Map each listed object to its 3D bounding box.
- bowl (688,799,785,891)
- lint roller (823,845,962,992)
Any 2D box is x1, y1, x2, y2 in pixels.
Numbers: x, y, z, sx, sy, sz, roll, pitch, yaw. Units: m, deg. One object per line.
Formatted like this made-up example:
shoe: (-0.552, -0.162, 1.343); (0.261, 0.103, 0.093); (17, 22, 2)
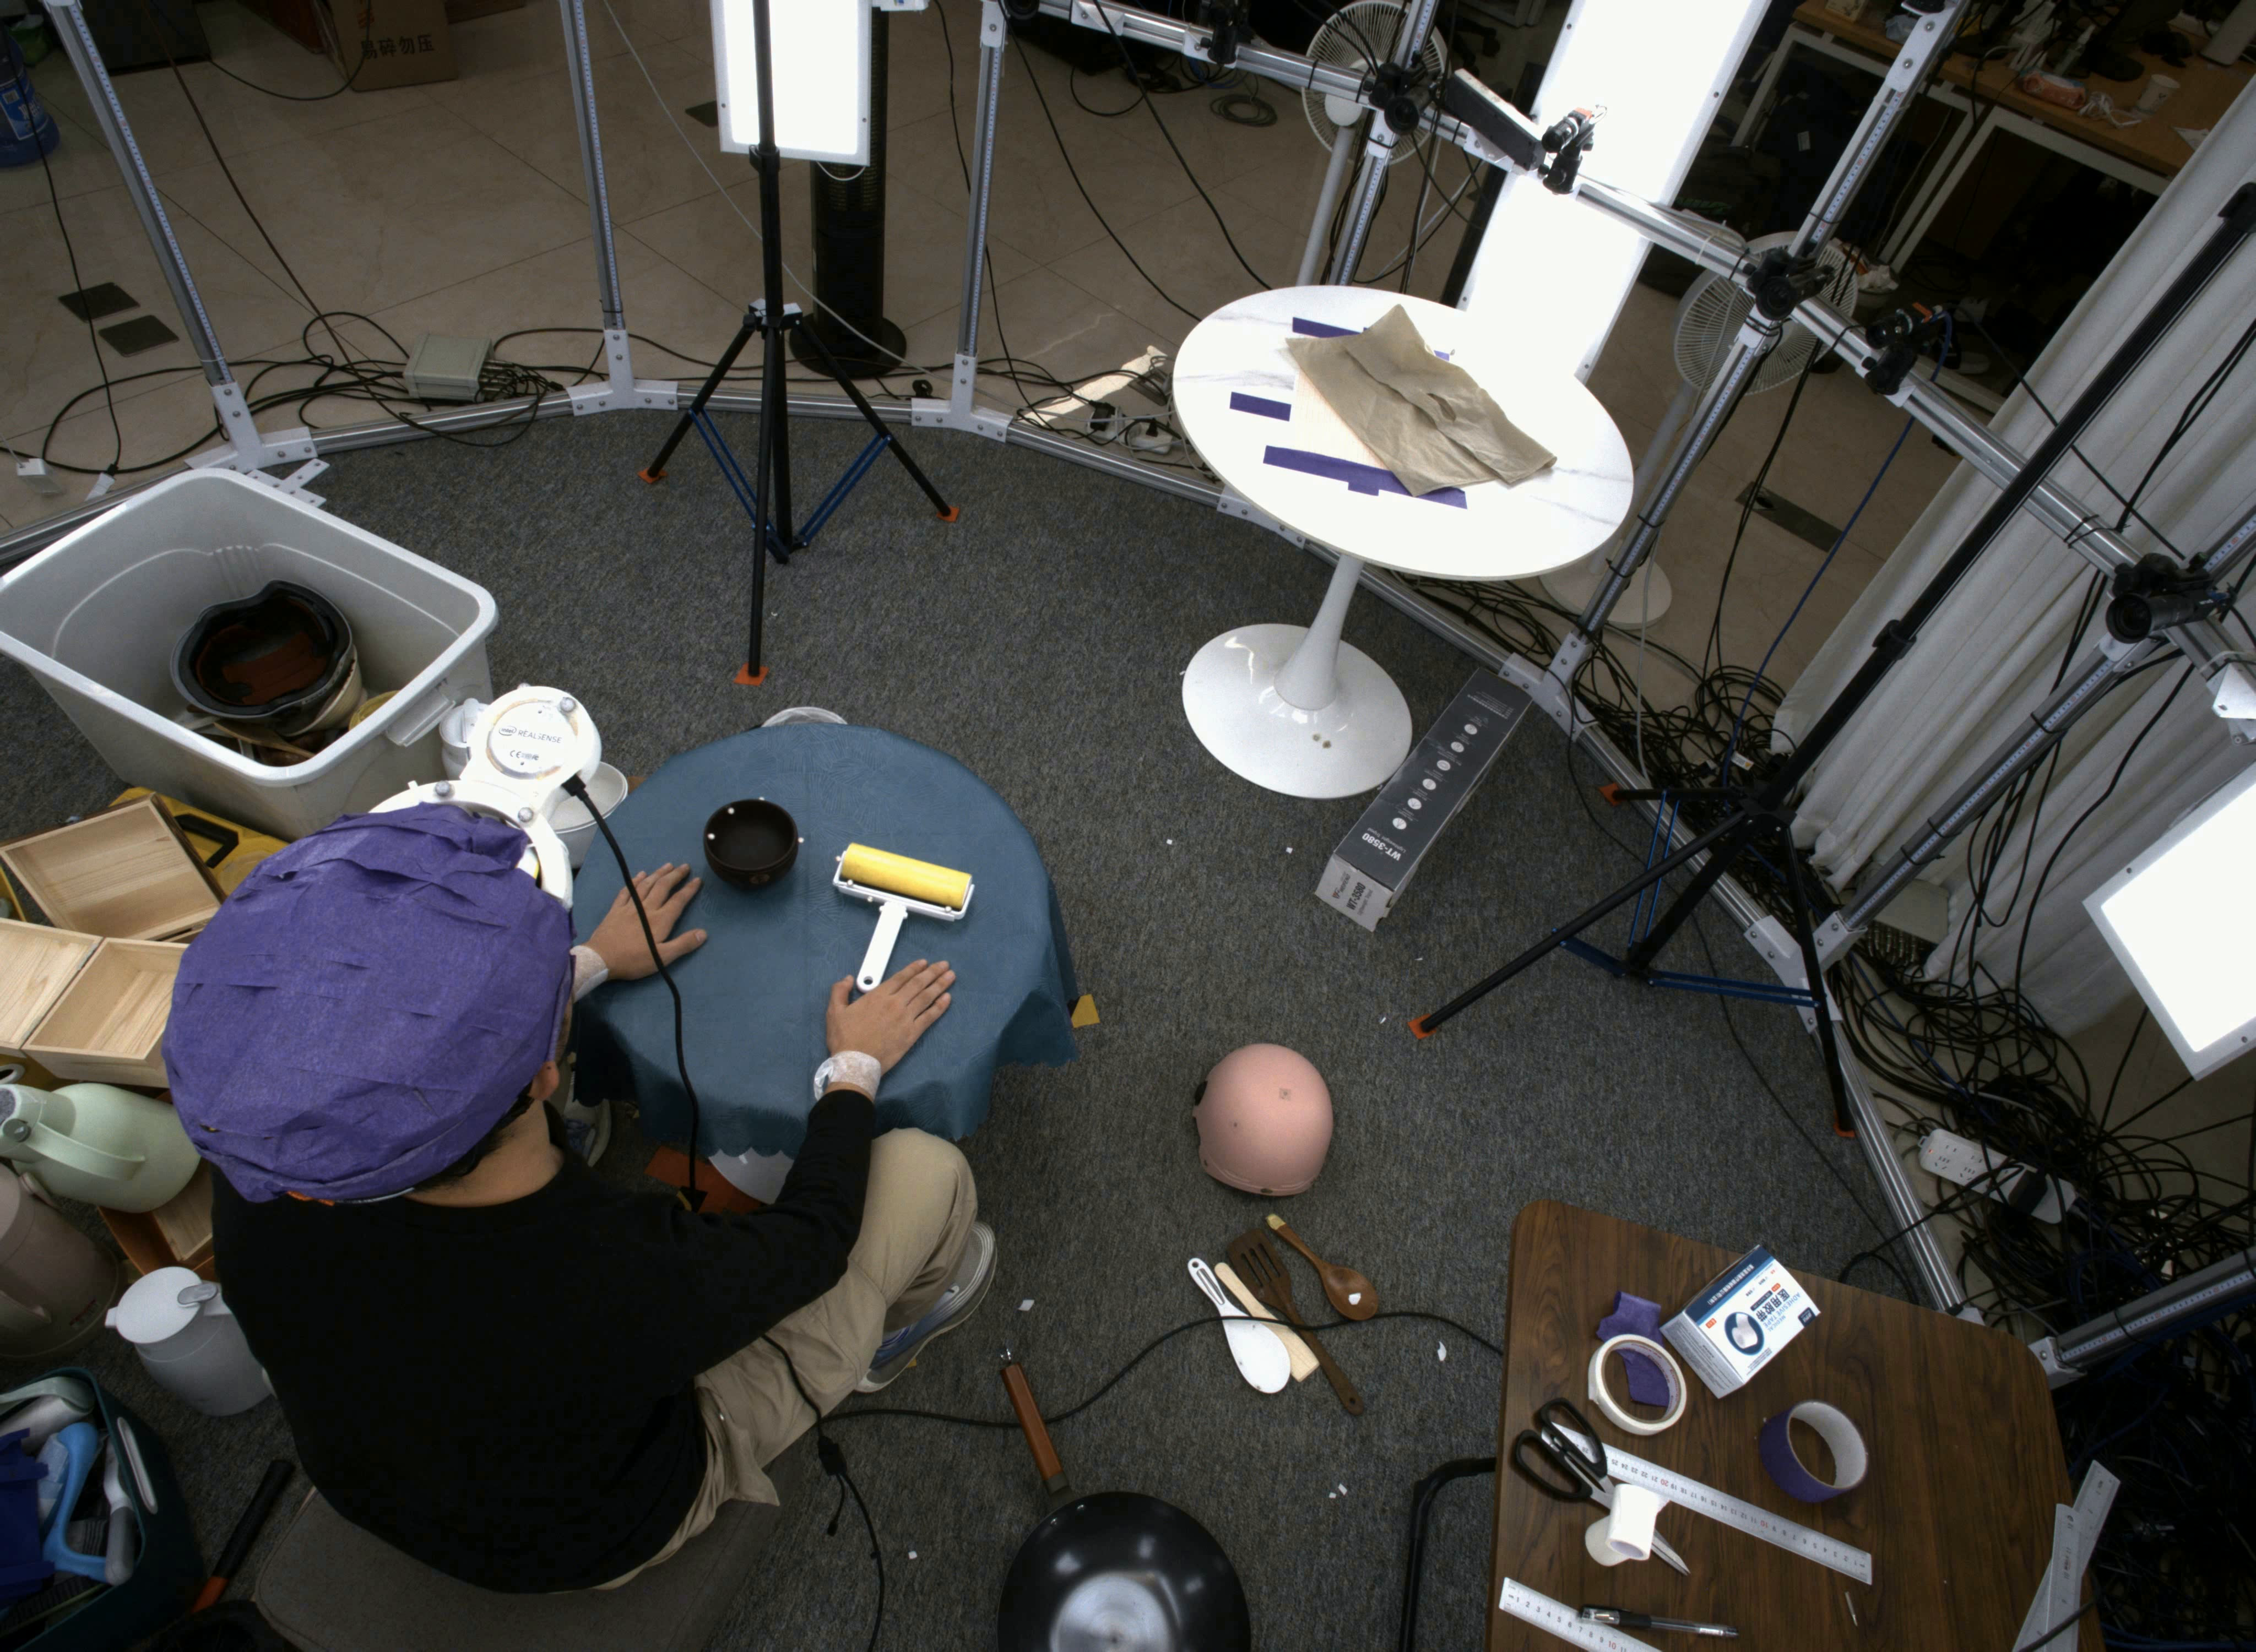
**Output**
bowl: (-0.492, 0.031, 1.629); (0.118, 0.071, 0.116); (7, 51, -8)
lint roller: (-0.310, 0.116, 1.629); (0.173, 0.052, 0.189); (13, 47, -4)
